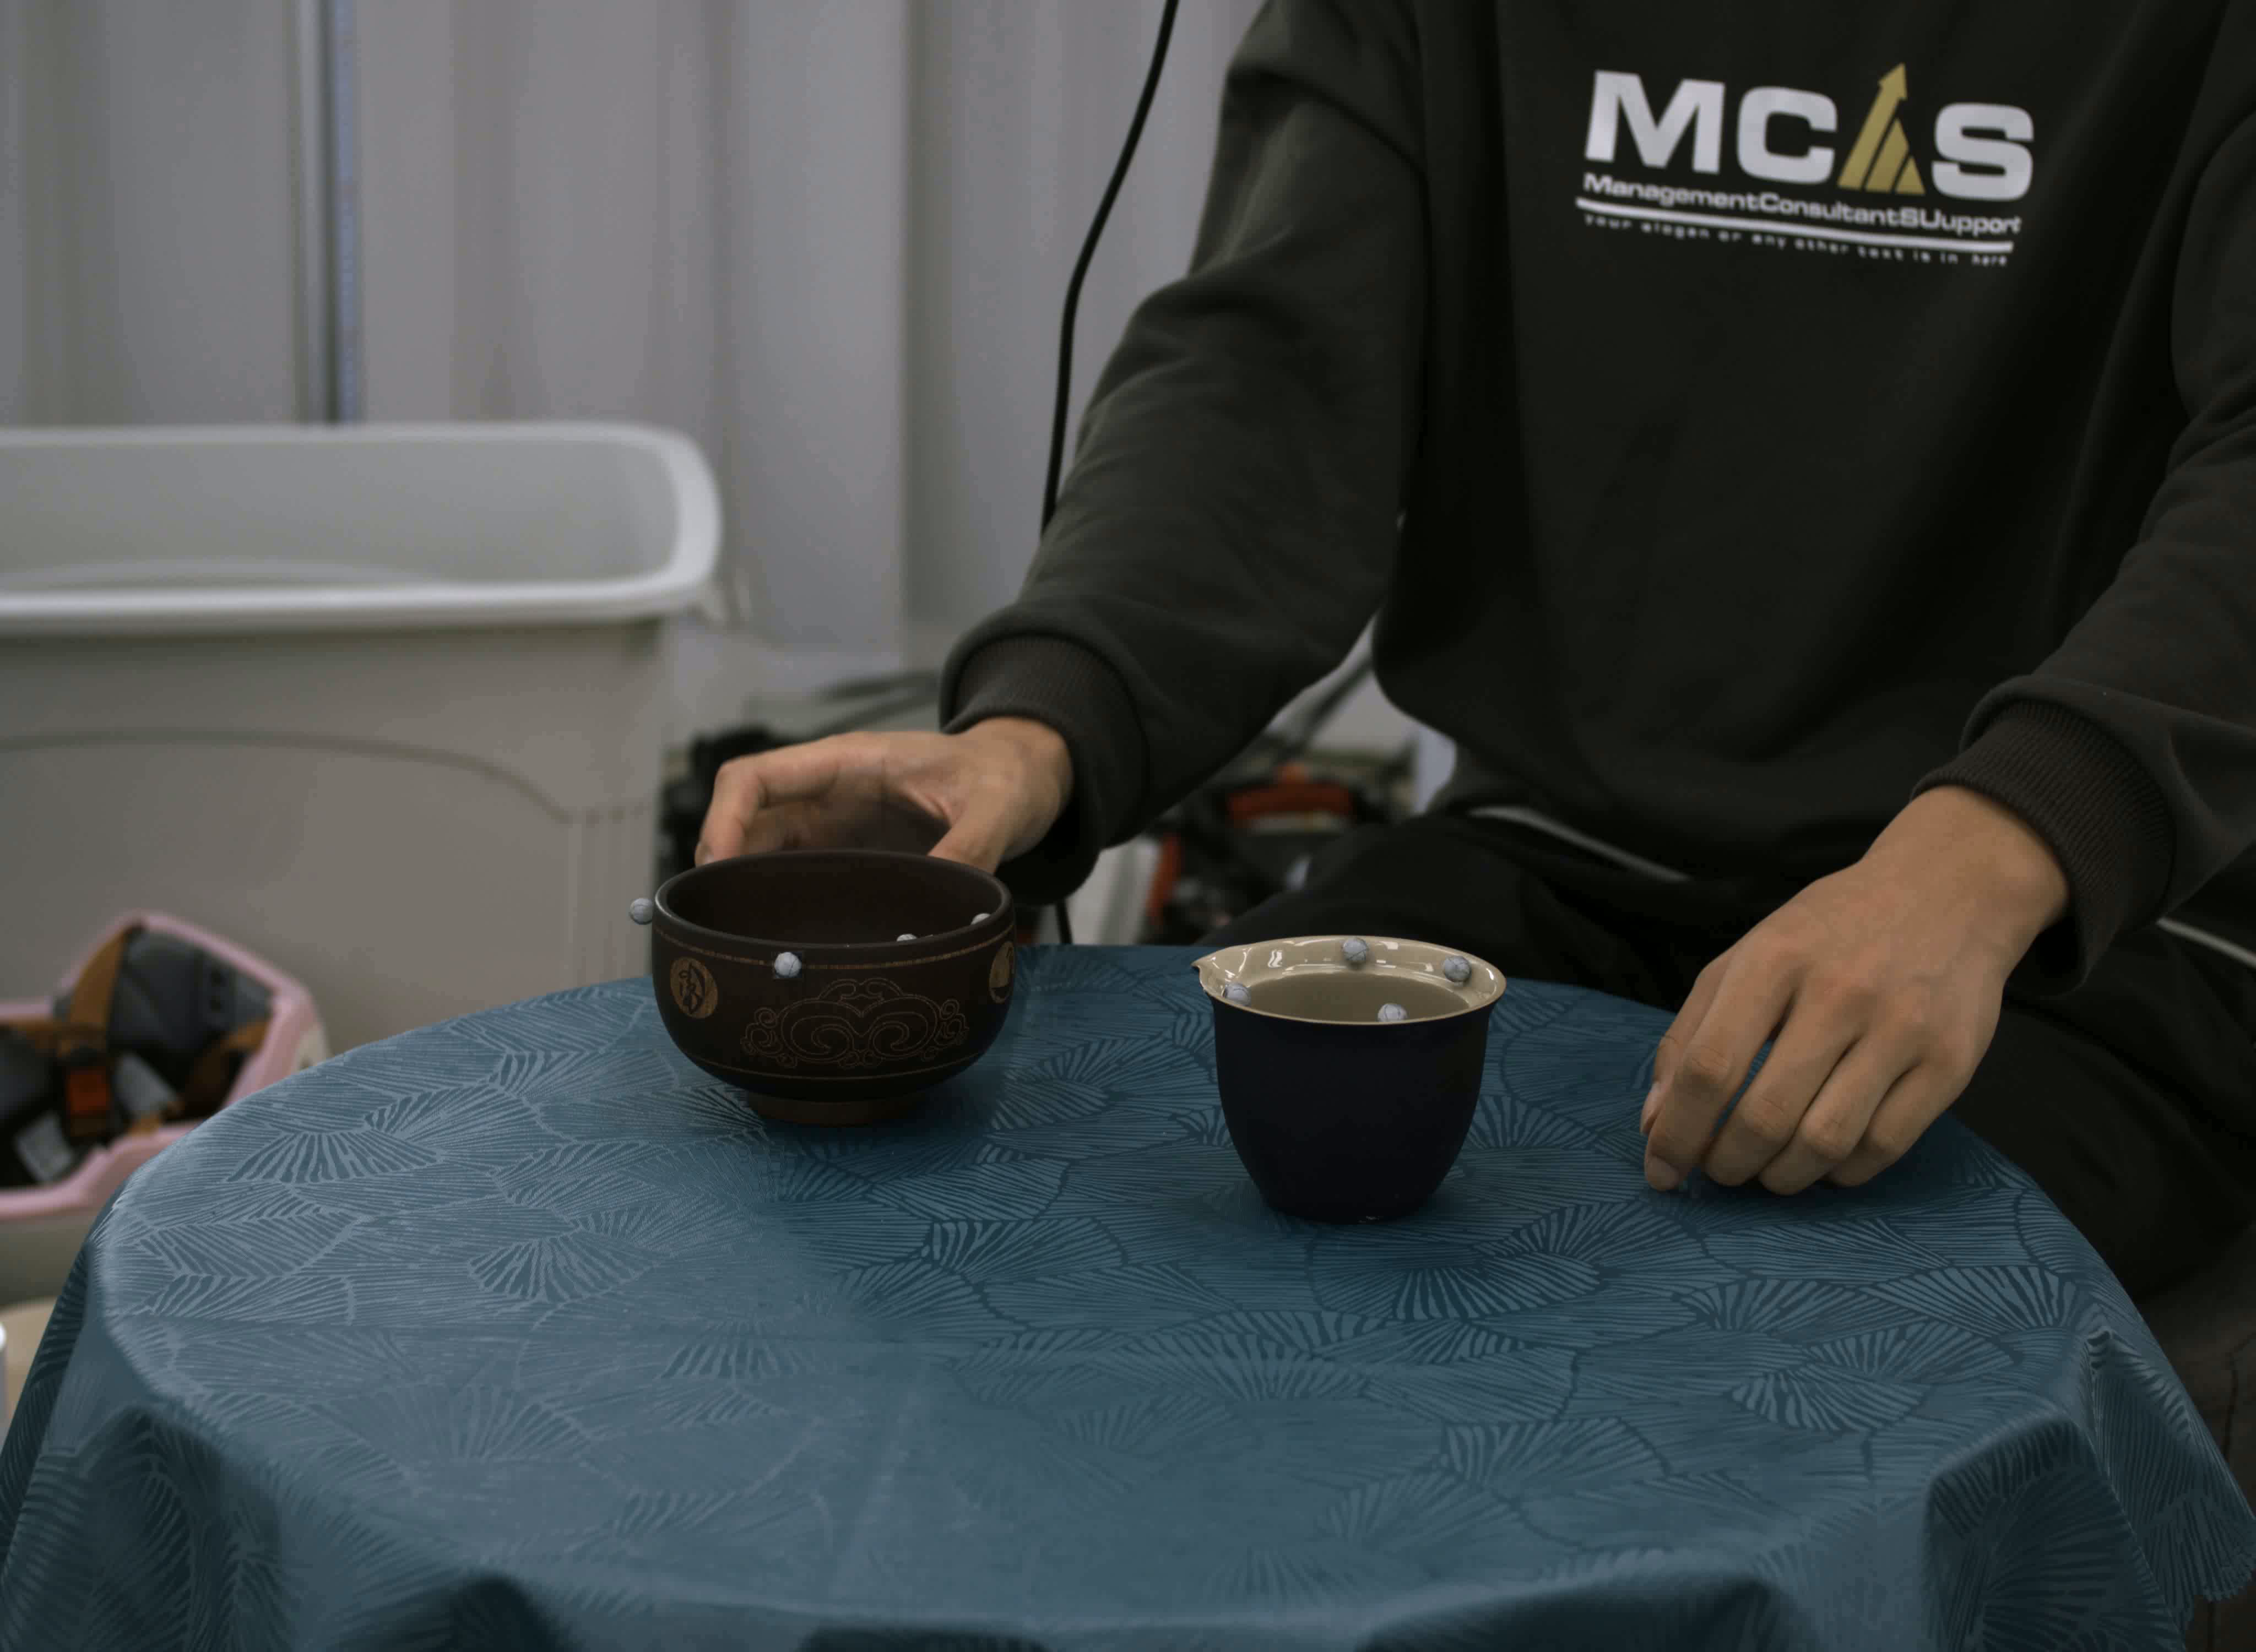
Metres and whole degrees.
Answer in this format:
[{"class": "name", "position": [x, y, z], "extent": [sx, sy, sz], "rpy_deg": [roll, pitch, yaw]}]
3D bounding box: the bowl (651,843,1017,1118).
[{"class": "bowl", "position": [-0.095, 0.053, 1.701], "extent": [0.117, 0.070, 0.117], "rpy_deg": [2, 15, 0]}]

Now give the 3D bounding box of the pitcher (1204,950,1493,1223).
[{"class": "pitcher", "position": [0.065, 0.079, 1.617], "extent": [0.095, 0.072, 0.084], "rpy_deg": [10, 21, 34]}]
